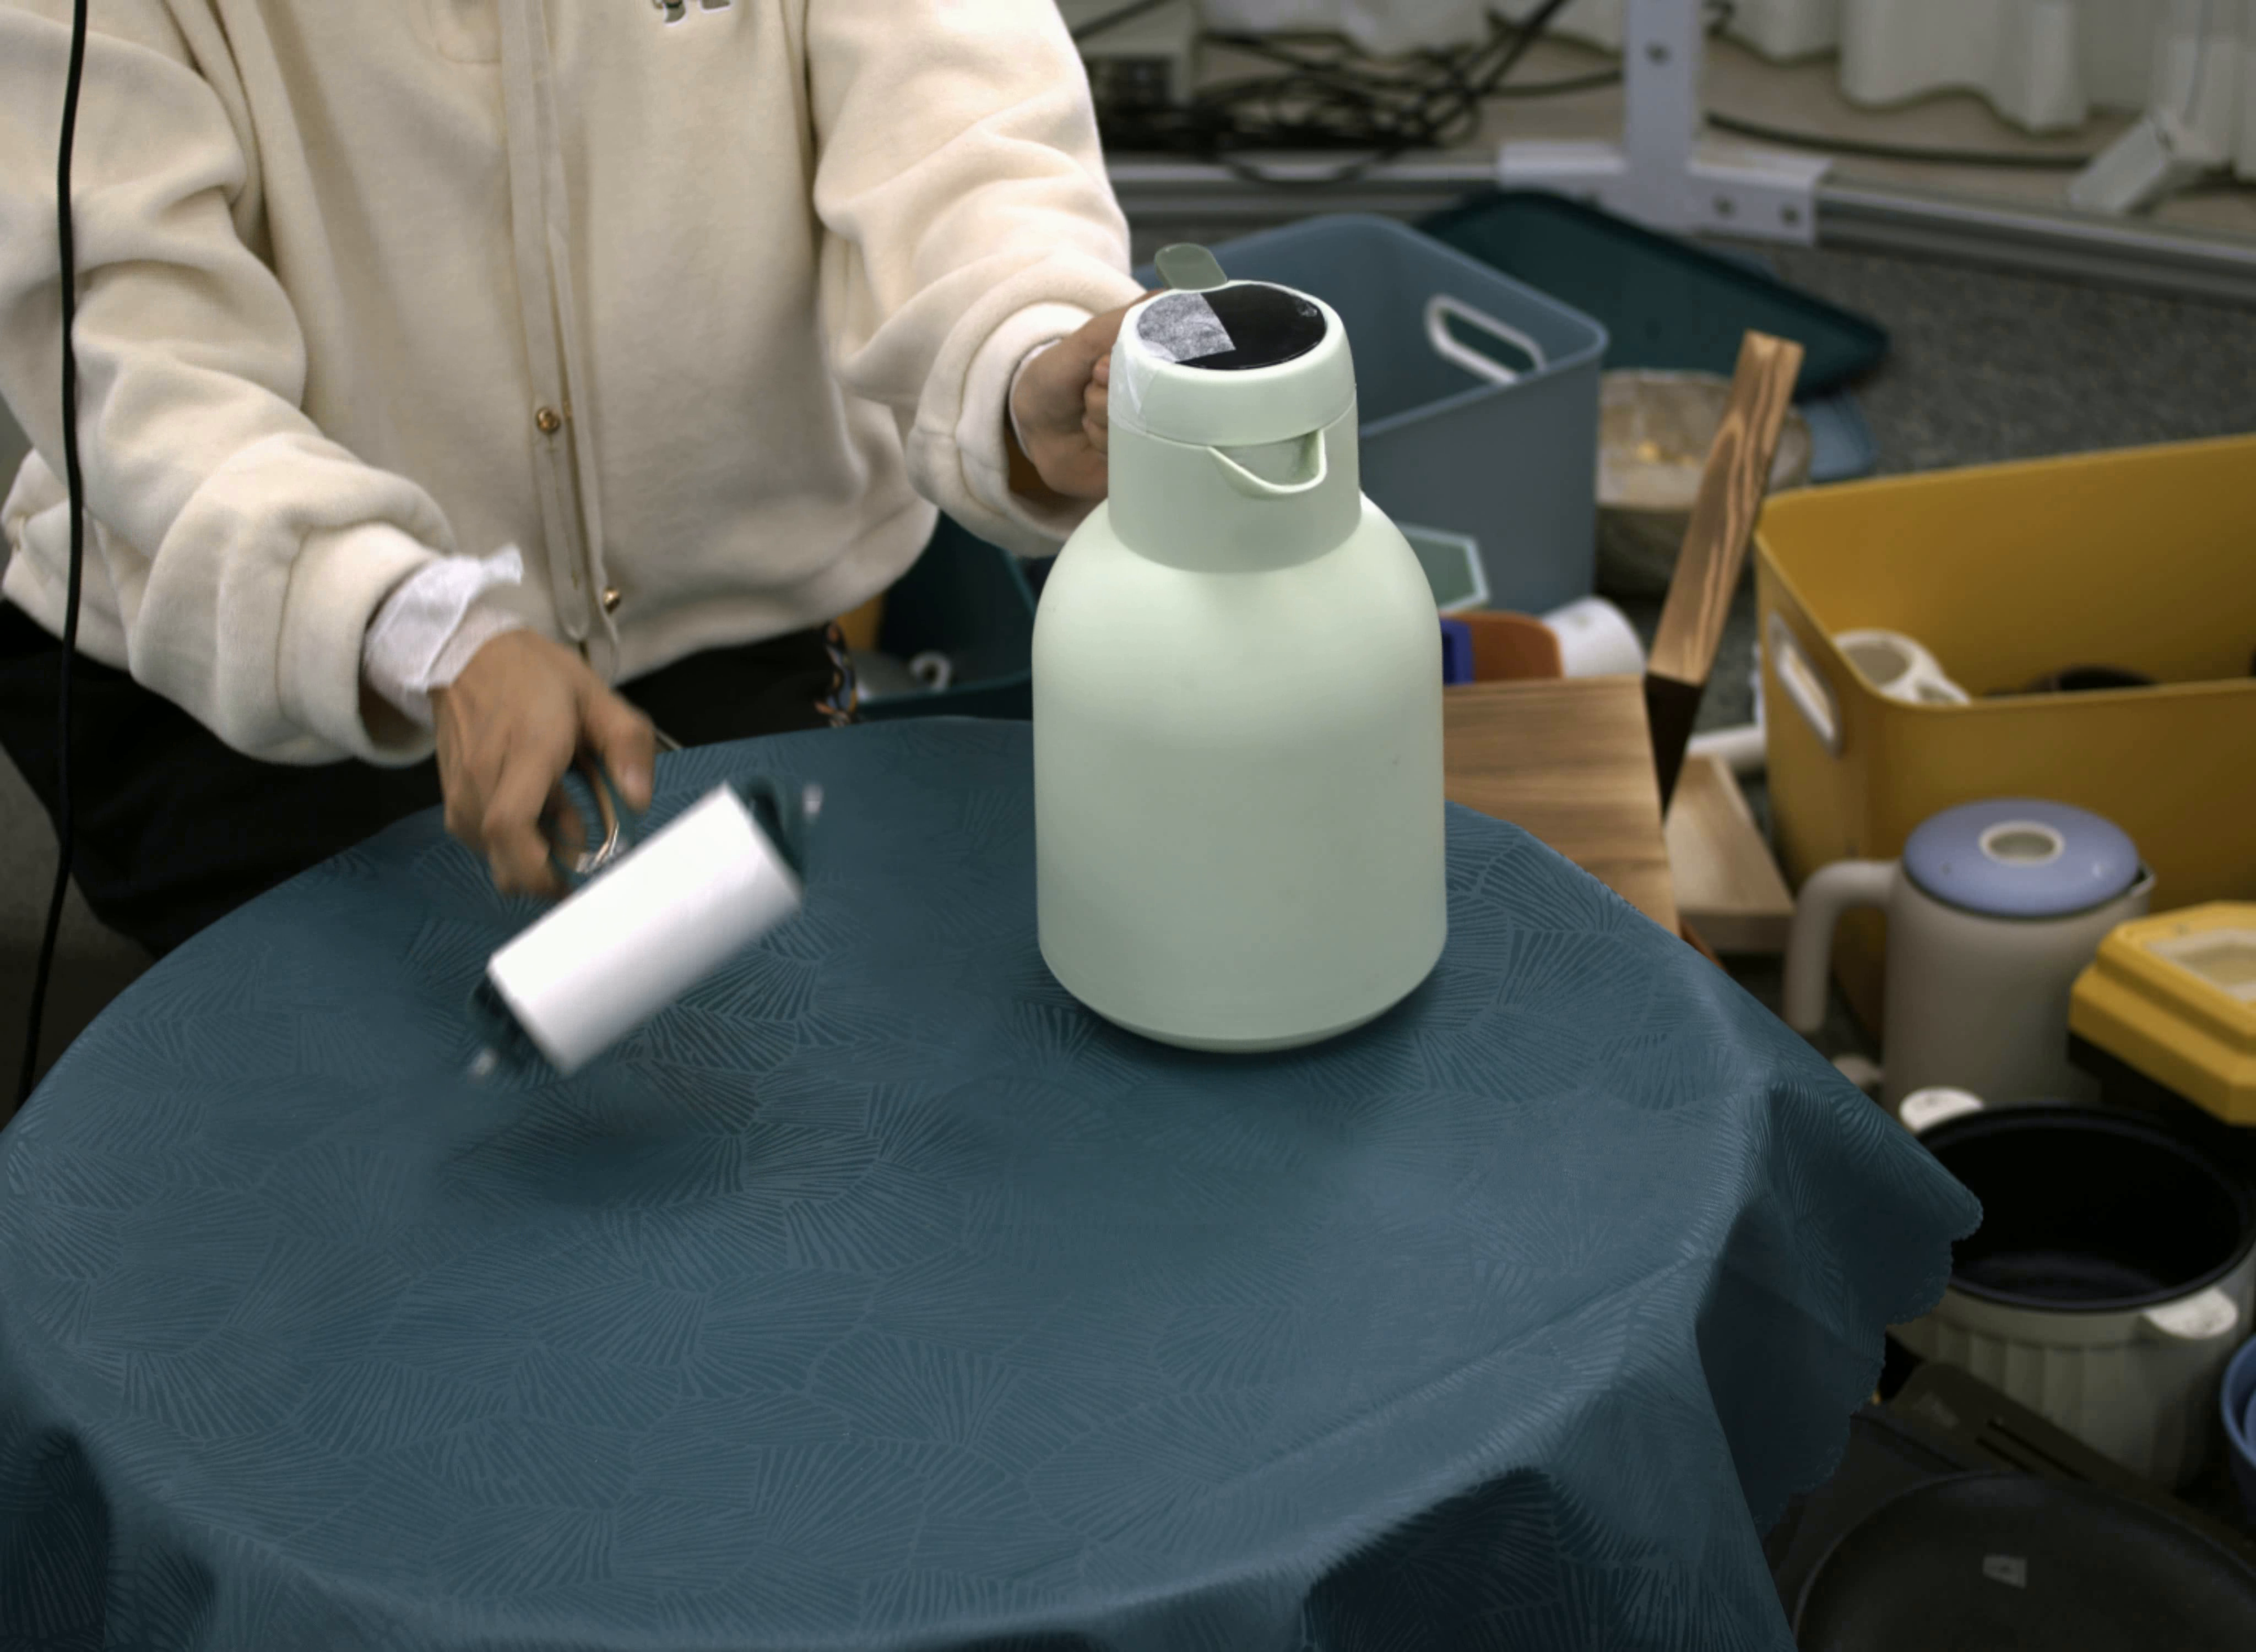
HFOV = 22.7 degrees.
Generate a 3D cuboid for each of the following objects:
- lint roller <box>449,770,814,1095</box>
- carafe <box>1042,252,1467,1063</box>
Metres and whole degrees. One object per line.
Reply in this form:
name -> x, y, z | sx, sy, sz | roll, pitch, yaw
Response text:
lint roller -> -0.188, 0.012, 1.937 | 0.134, 0.048, 0.182 | -33, 37, -4
carafe -> 0.036, -0.064, 1.941 | 0.144, 0.254, 0.188 | -11, 26, -12
